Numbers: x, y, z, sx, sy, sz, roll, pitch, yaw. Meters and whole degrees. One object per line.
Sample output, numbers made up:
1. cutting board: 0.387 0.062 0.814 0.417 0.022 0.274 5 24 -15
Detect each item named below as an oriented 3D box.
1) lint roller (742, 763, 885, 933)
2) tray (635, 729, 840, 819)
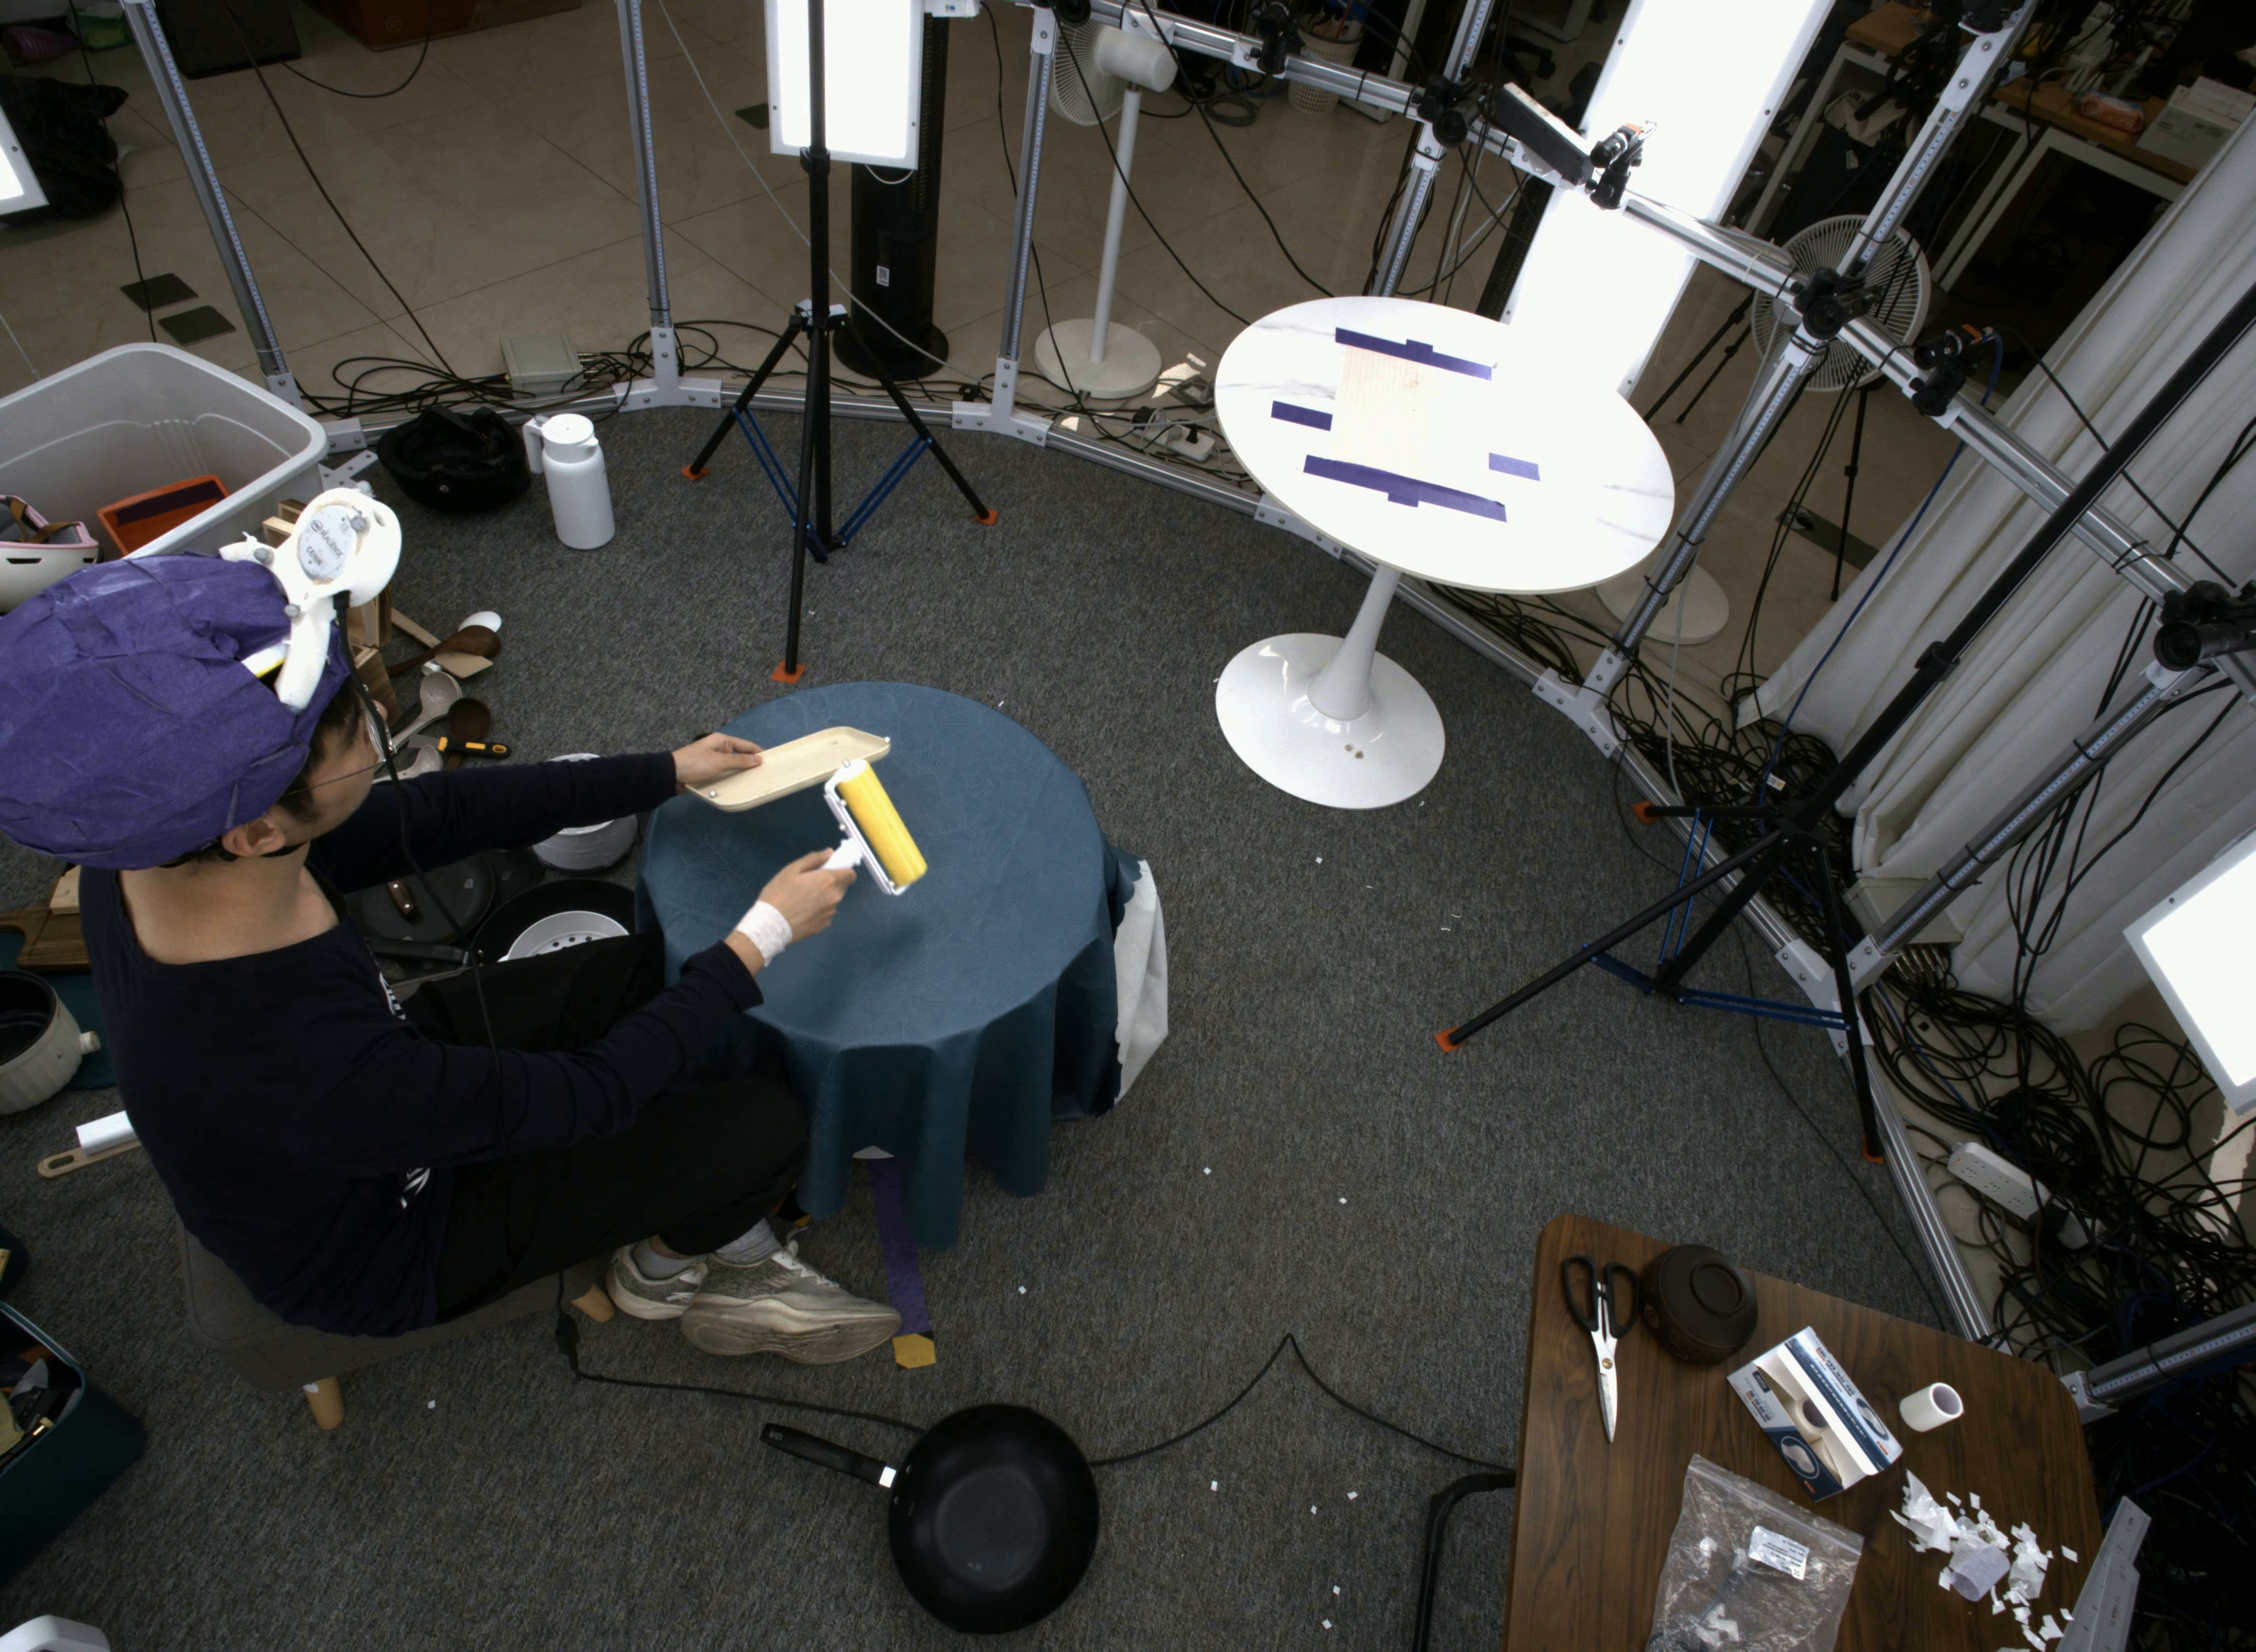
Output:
1. lint roller: -0.383 0.049 1.522 0.050 0.181 0.190 -5 40 32
2. tray: -0.494 -0.068 1.636 0.241 0.018 0.165 -28 27 -34
